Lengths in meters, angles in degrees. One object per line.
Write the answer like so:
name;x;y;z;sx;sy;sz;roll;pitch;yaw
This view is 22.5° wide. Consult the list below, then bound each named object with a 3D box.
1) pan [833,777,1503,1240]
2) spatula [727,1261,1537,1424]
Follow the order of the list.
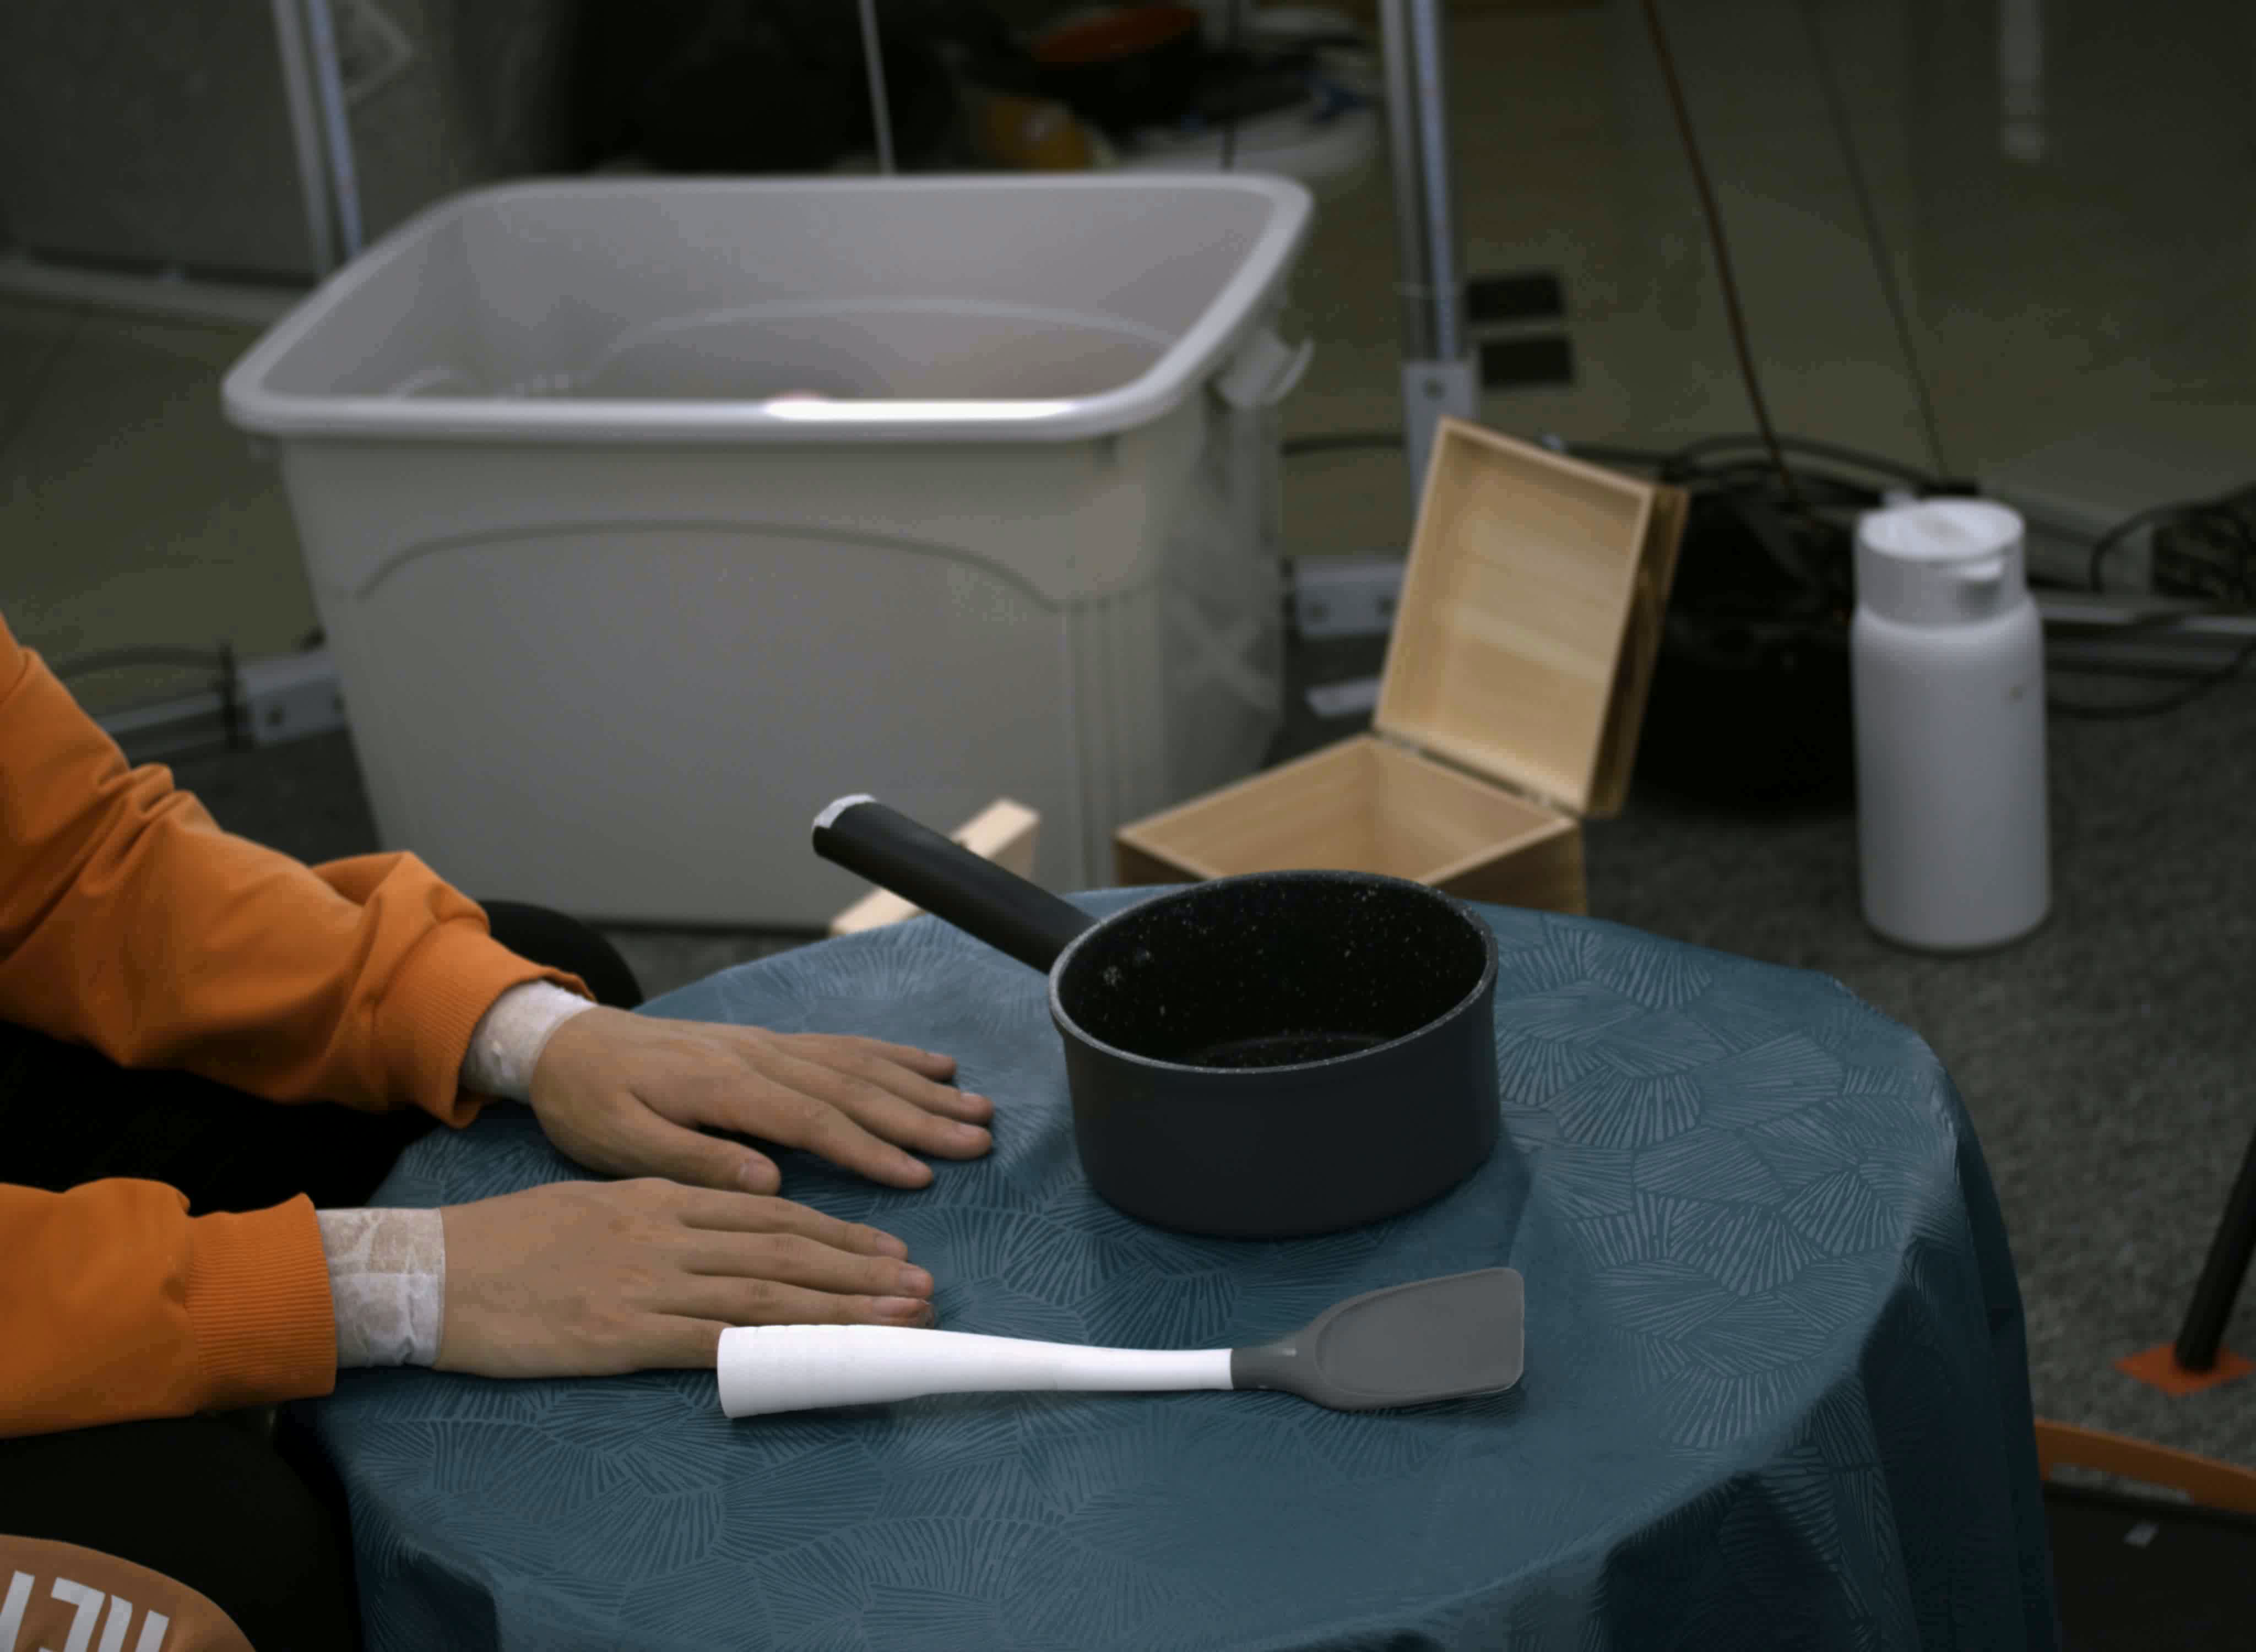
pan;0.003;0.064;2.204;0.170;0.088;0.326;-26;33;-37
spatula;0.002;0.188;2.004;0.287;0.033;0.057;-4;49;8
